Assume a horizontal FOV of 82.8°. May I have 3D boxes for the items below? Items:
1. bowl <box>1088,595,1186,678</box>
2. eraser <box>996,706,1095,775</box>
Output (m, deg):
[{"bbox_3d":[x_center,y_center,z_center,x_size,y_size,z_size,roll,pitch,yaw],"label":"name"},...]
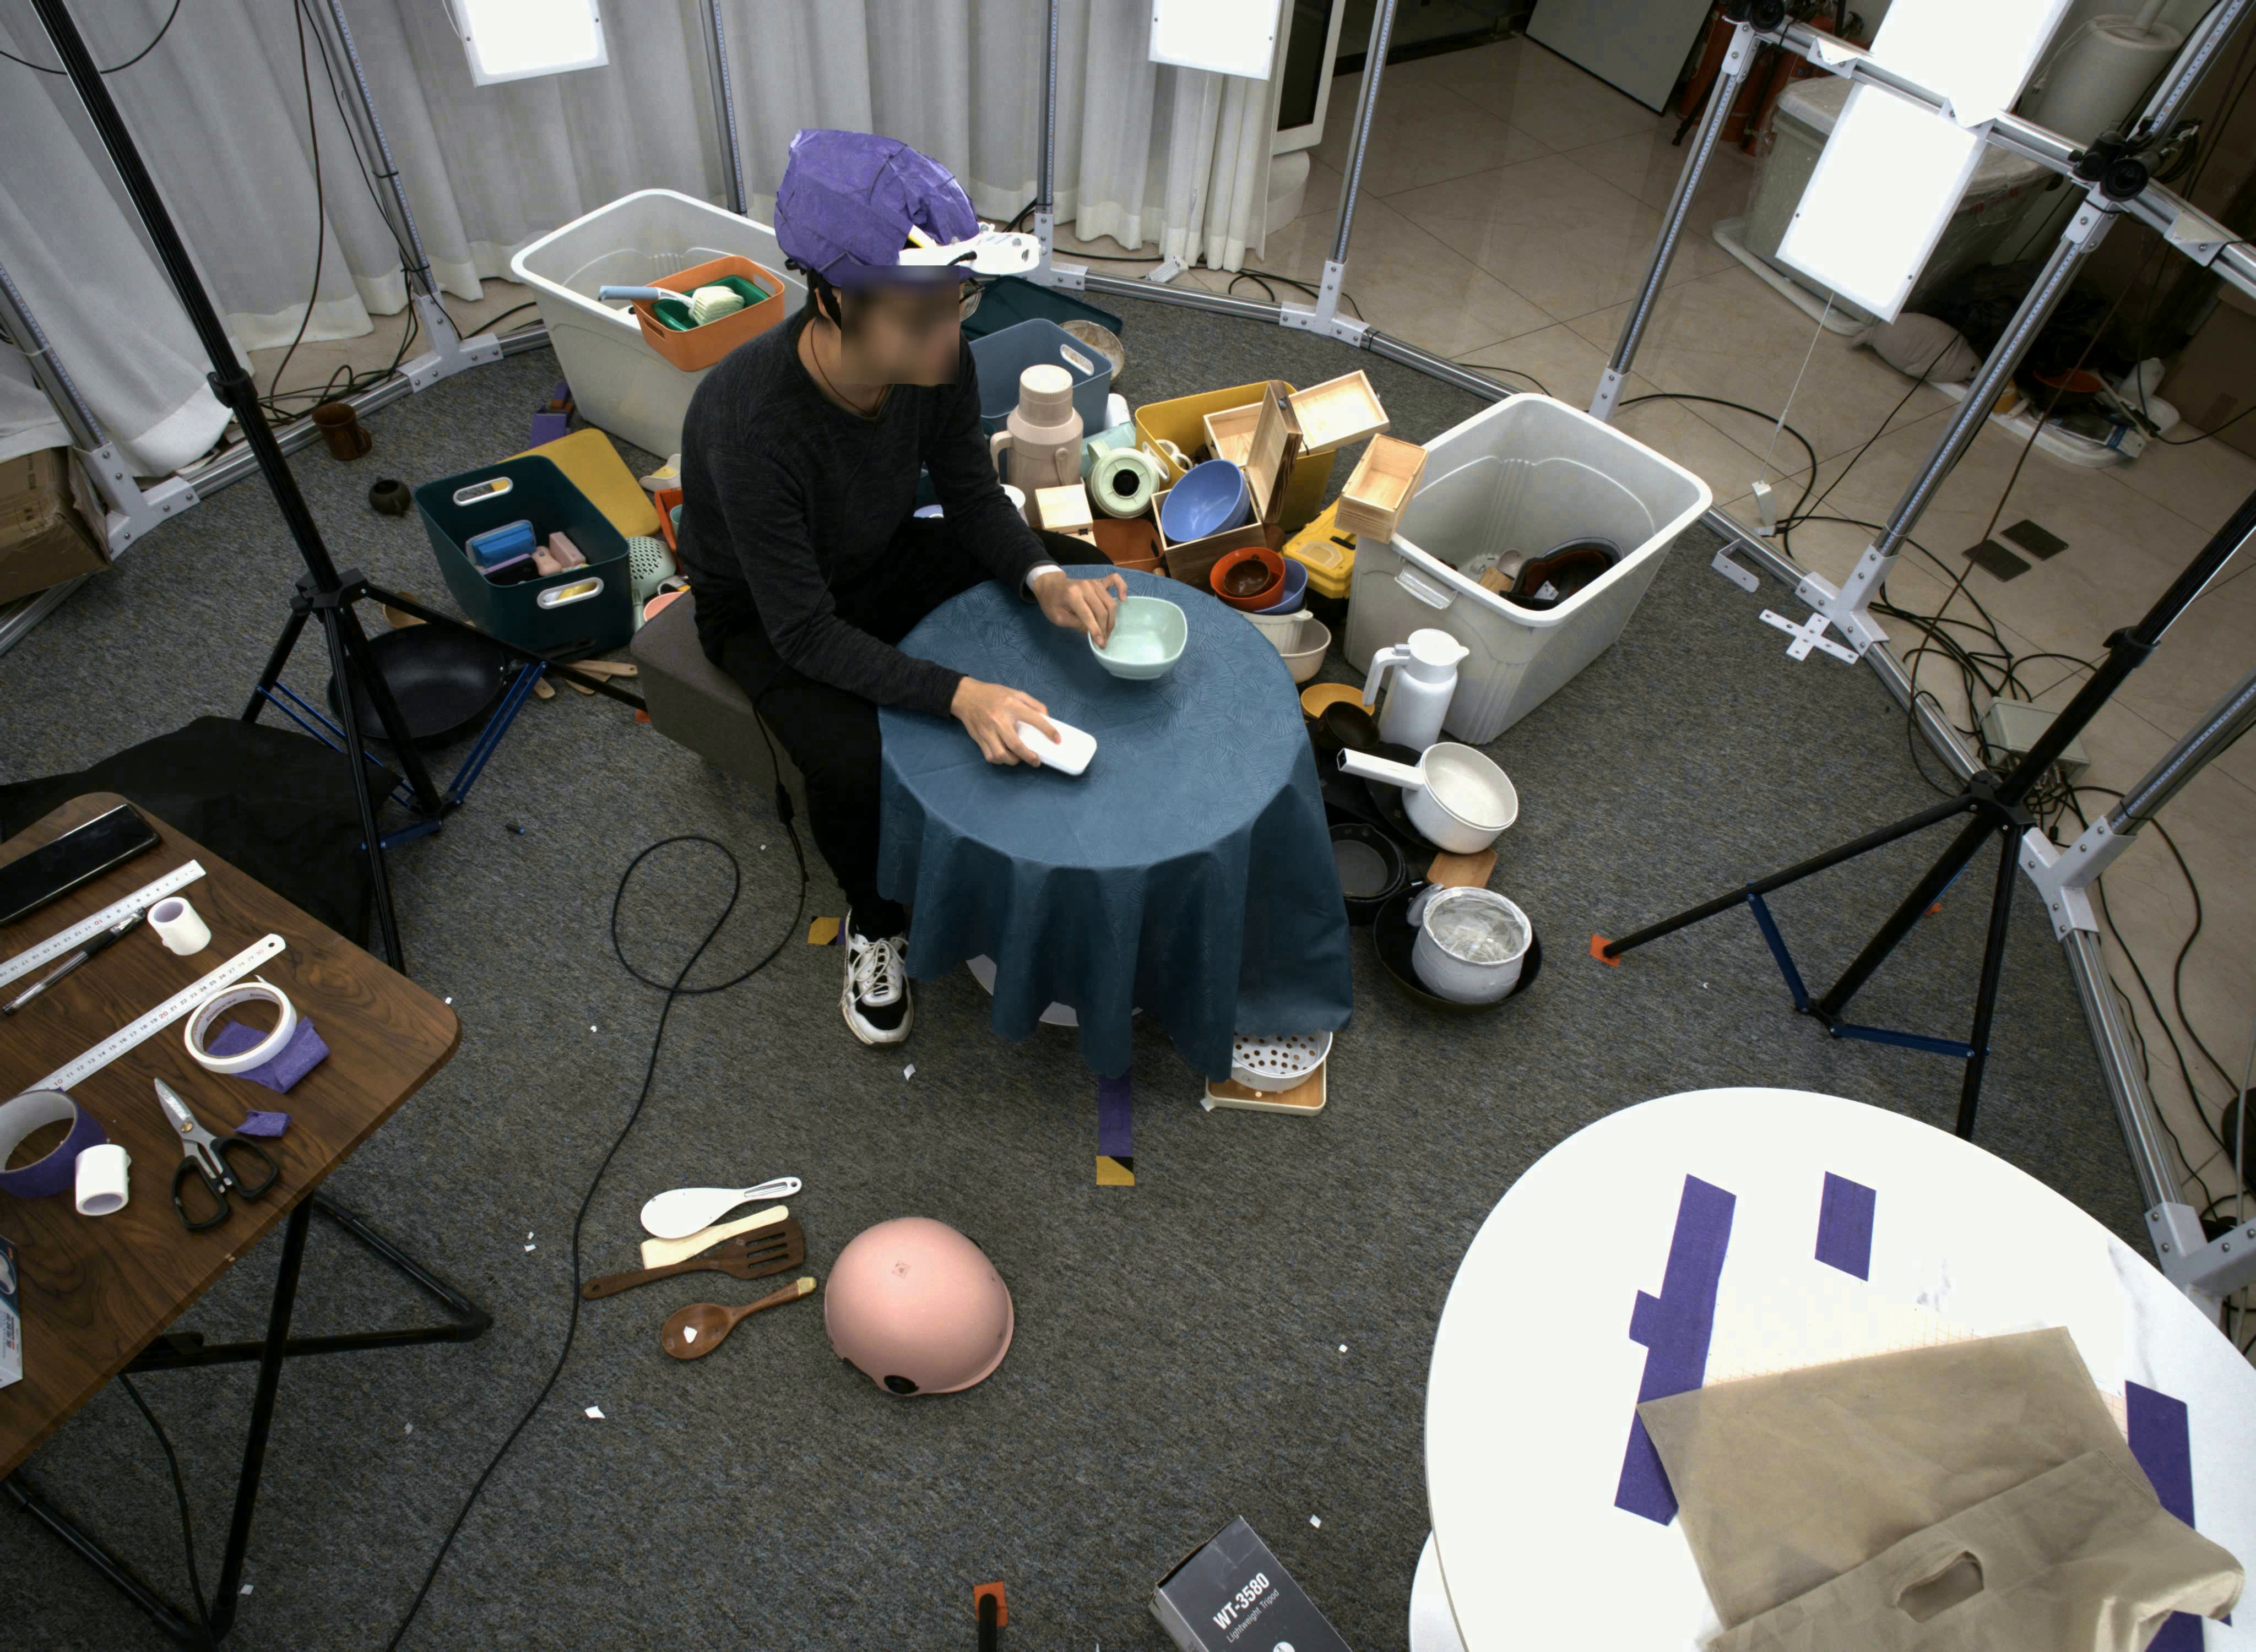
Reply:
[{"bbox_3d":[0.012,-0.261,1.823,0.151,0.057,0.155,1,49,-1],"label":"bowl"},{"bbox_3d":[-0.111,-0.117,1.723,0.132,0.034,0.064,24,54,12],"label":"eraser"}]
